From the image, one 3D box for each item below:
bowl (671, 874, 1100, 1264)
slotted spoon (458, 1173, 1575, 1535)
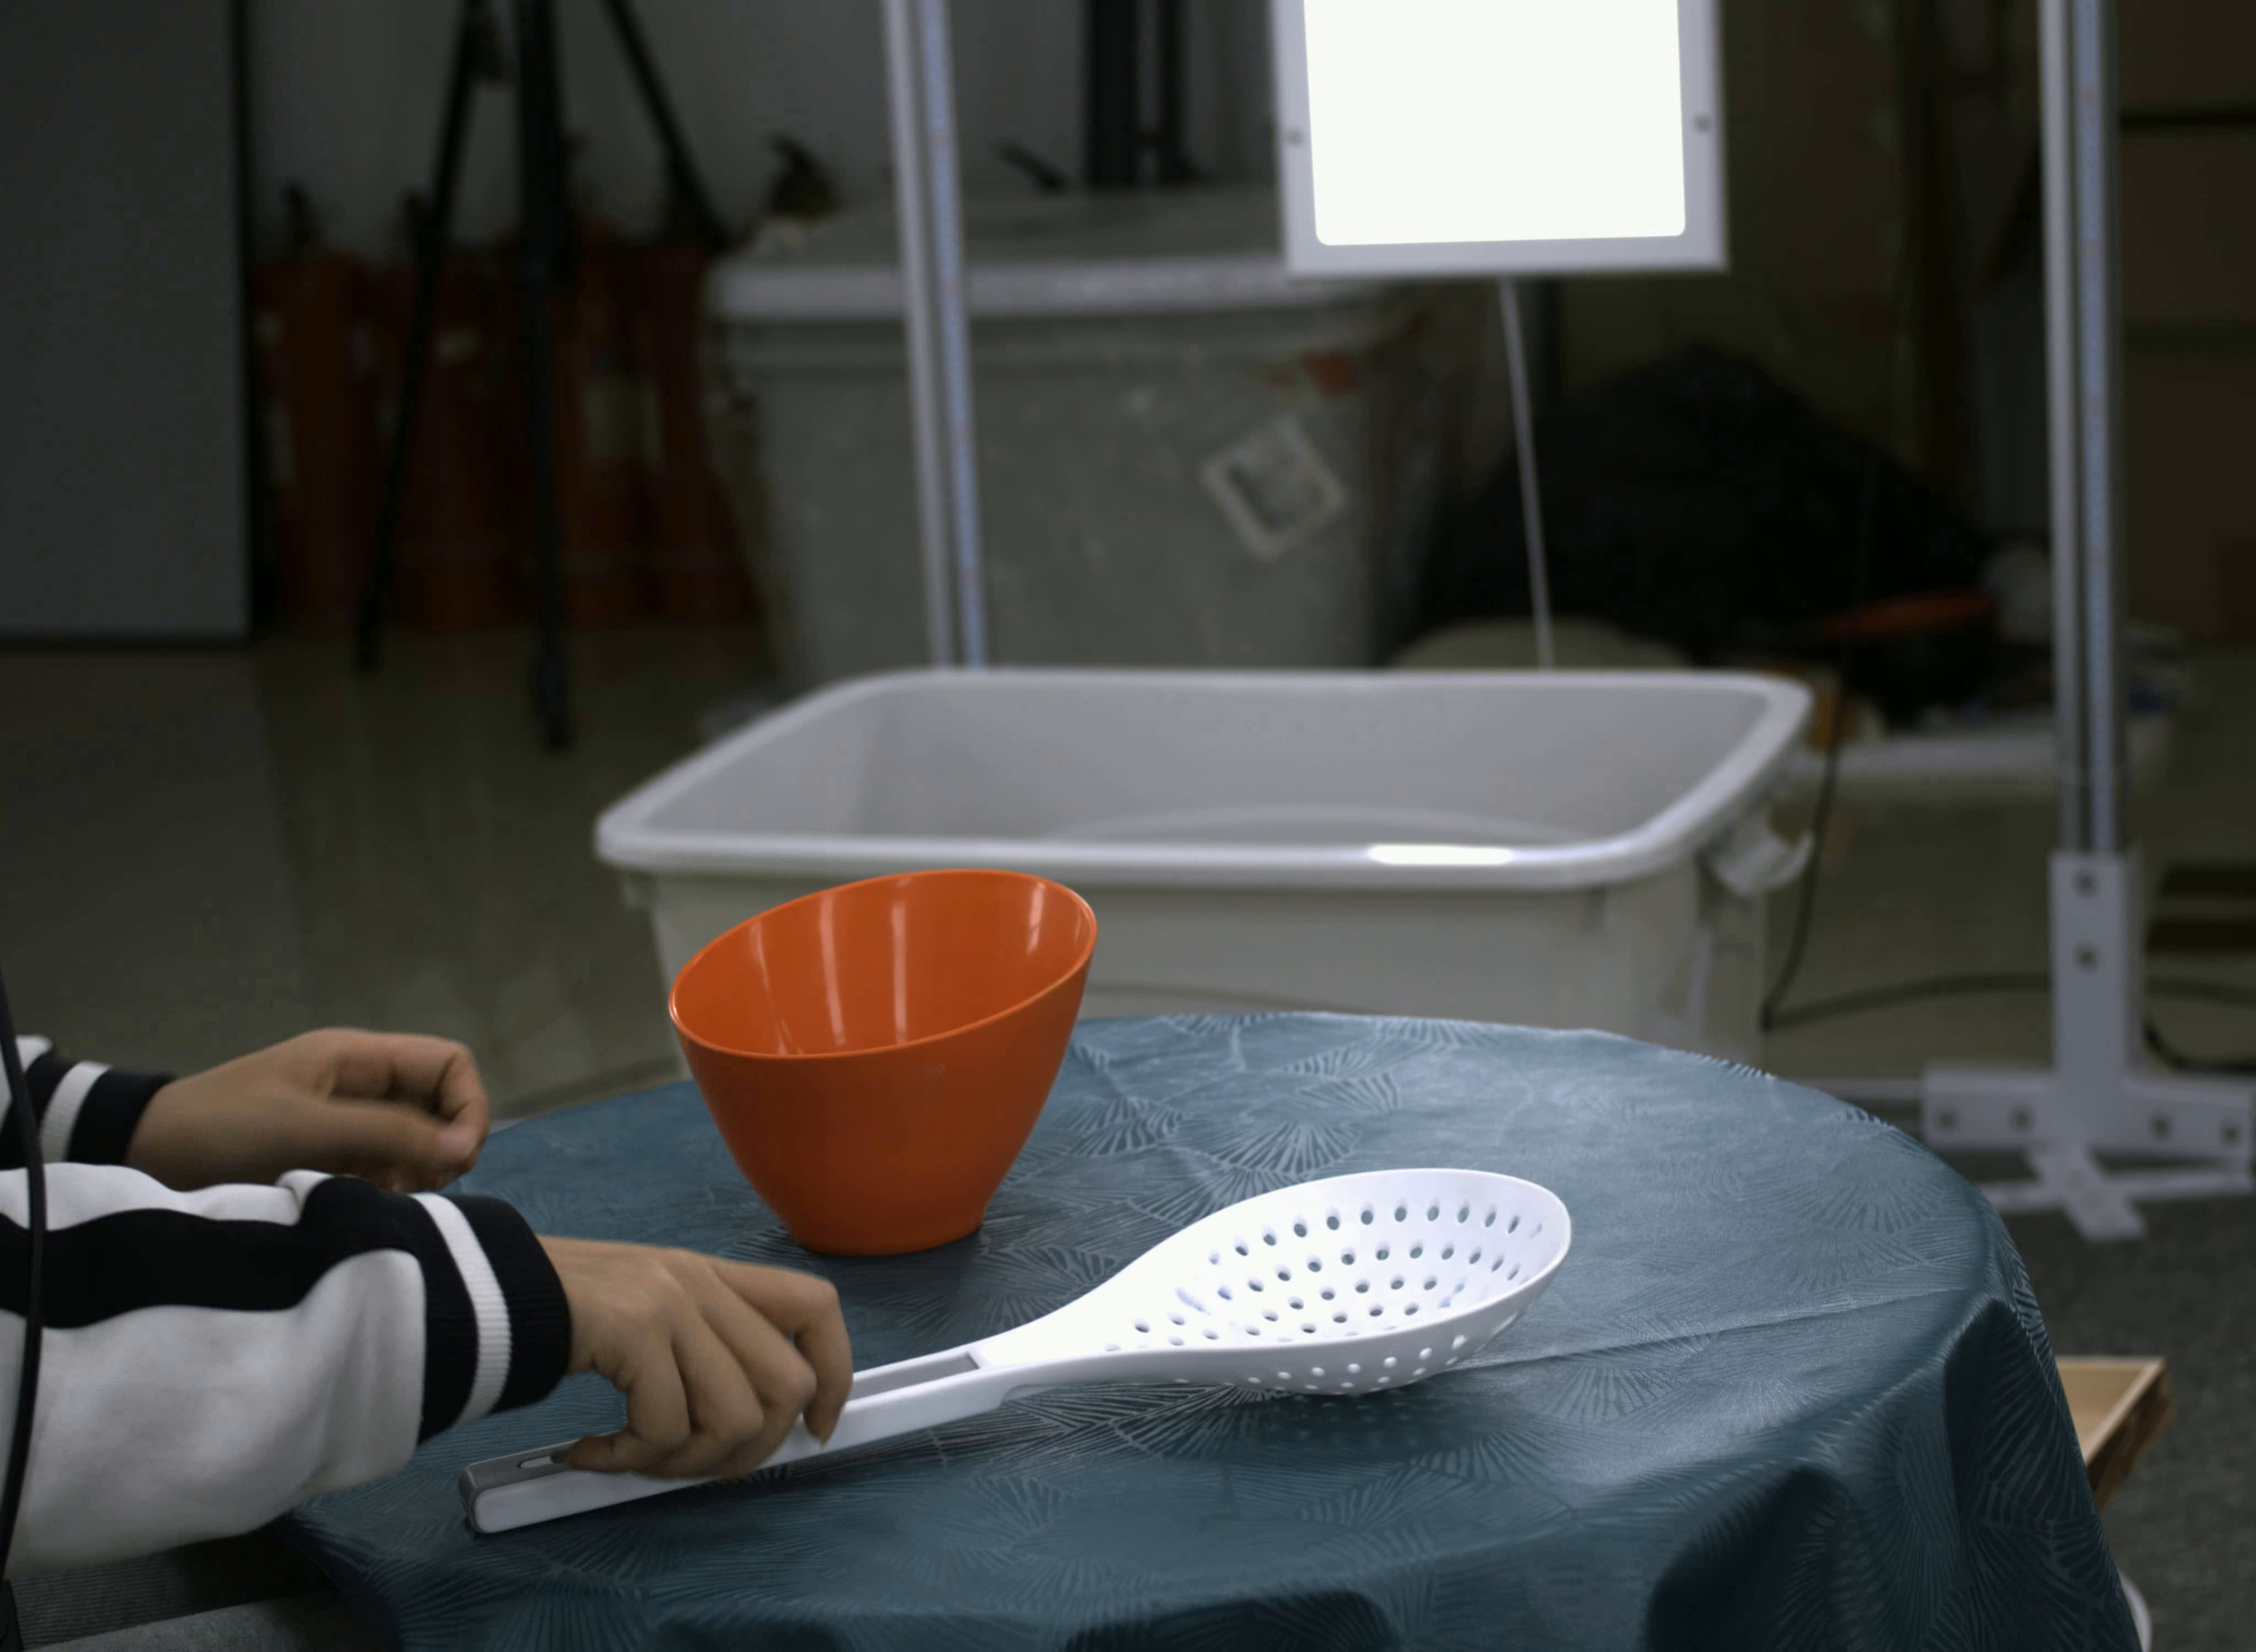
[{"bbox_3d":[-0.080,0.087,1.881,0.147,0.105,0.148,-4,15,0],"label":"bowl"},{"bbox_3d":[-0.031,0.162,1.668,0.345,0.046,0.137,-9,15,-12],"label":"slotted spoon"}]
